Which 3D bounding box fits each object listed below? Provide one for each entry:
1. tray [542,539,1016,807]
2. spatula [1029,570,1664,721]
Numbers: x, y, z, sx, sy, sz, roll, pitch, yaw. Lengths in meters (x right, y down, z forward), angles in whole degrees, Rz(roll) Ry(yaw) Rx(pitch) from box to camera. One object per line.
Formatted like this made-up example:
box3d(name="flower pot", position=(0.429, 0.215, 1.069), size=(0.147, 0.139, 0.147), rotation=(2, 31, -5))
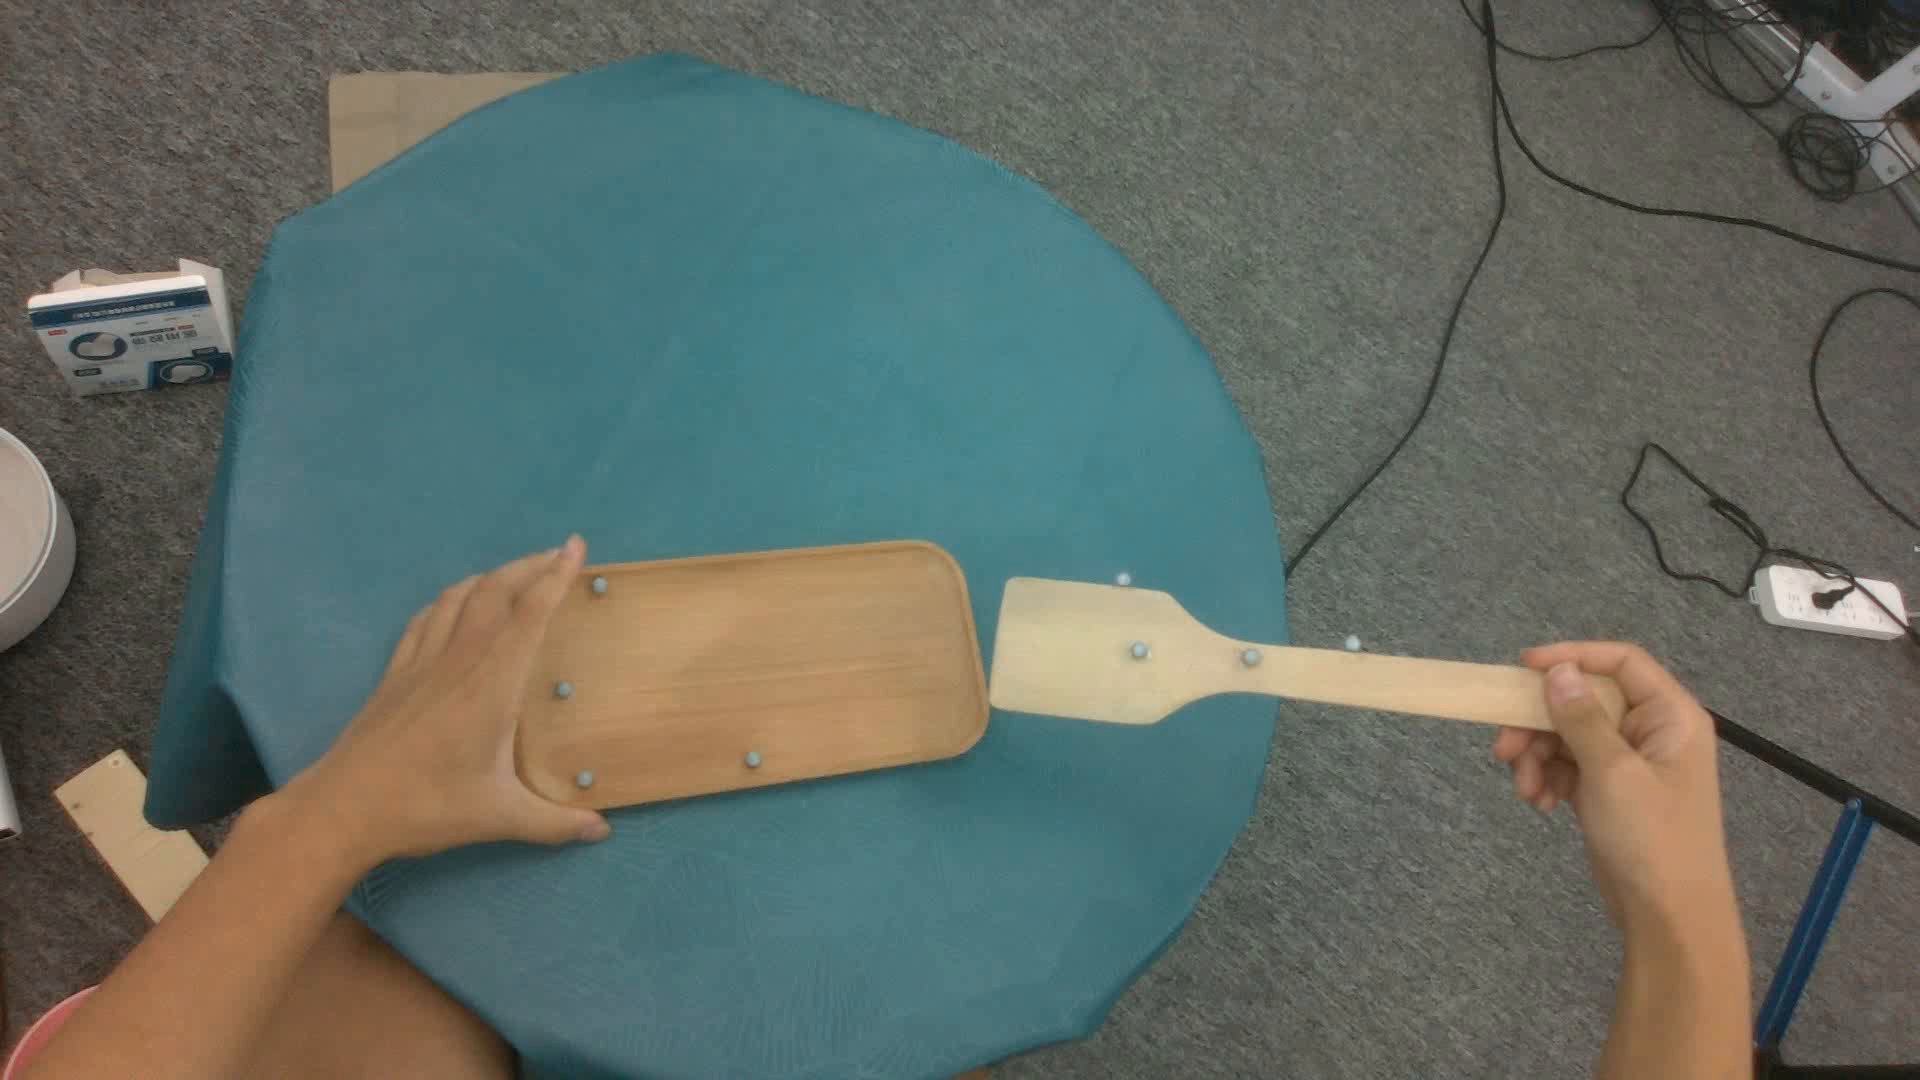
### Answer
box3d(name="tray", position=(-0.095, 0.069, 0.752), size=(0.251, 0.023, 0.131), rotation=(-4, 73, -19))
box3d(name="spatula", position=(0.178, 0.058, 0.665), size=(0.292, 0.010, 0.072), rotation=(4, 74, 18))
